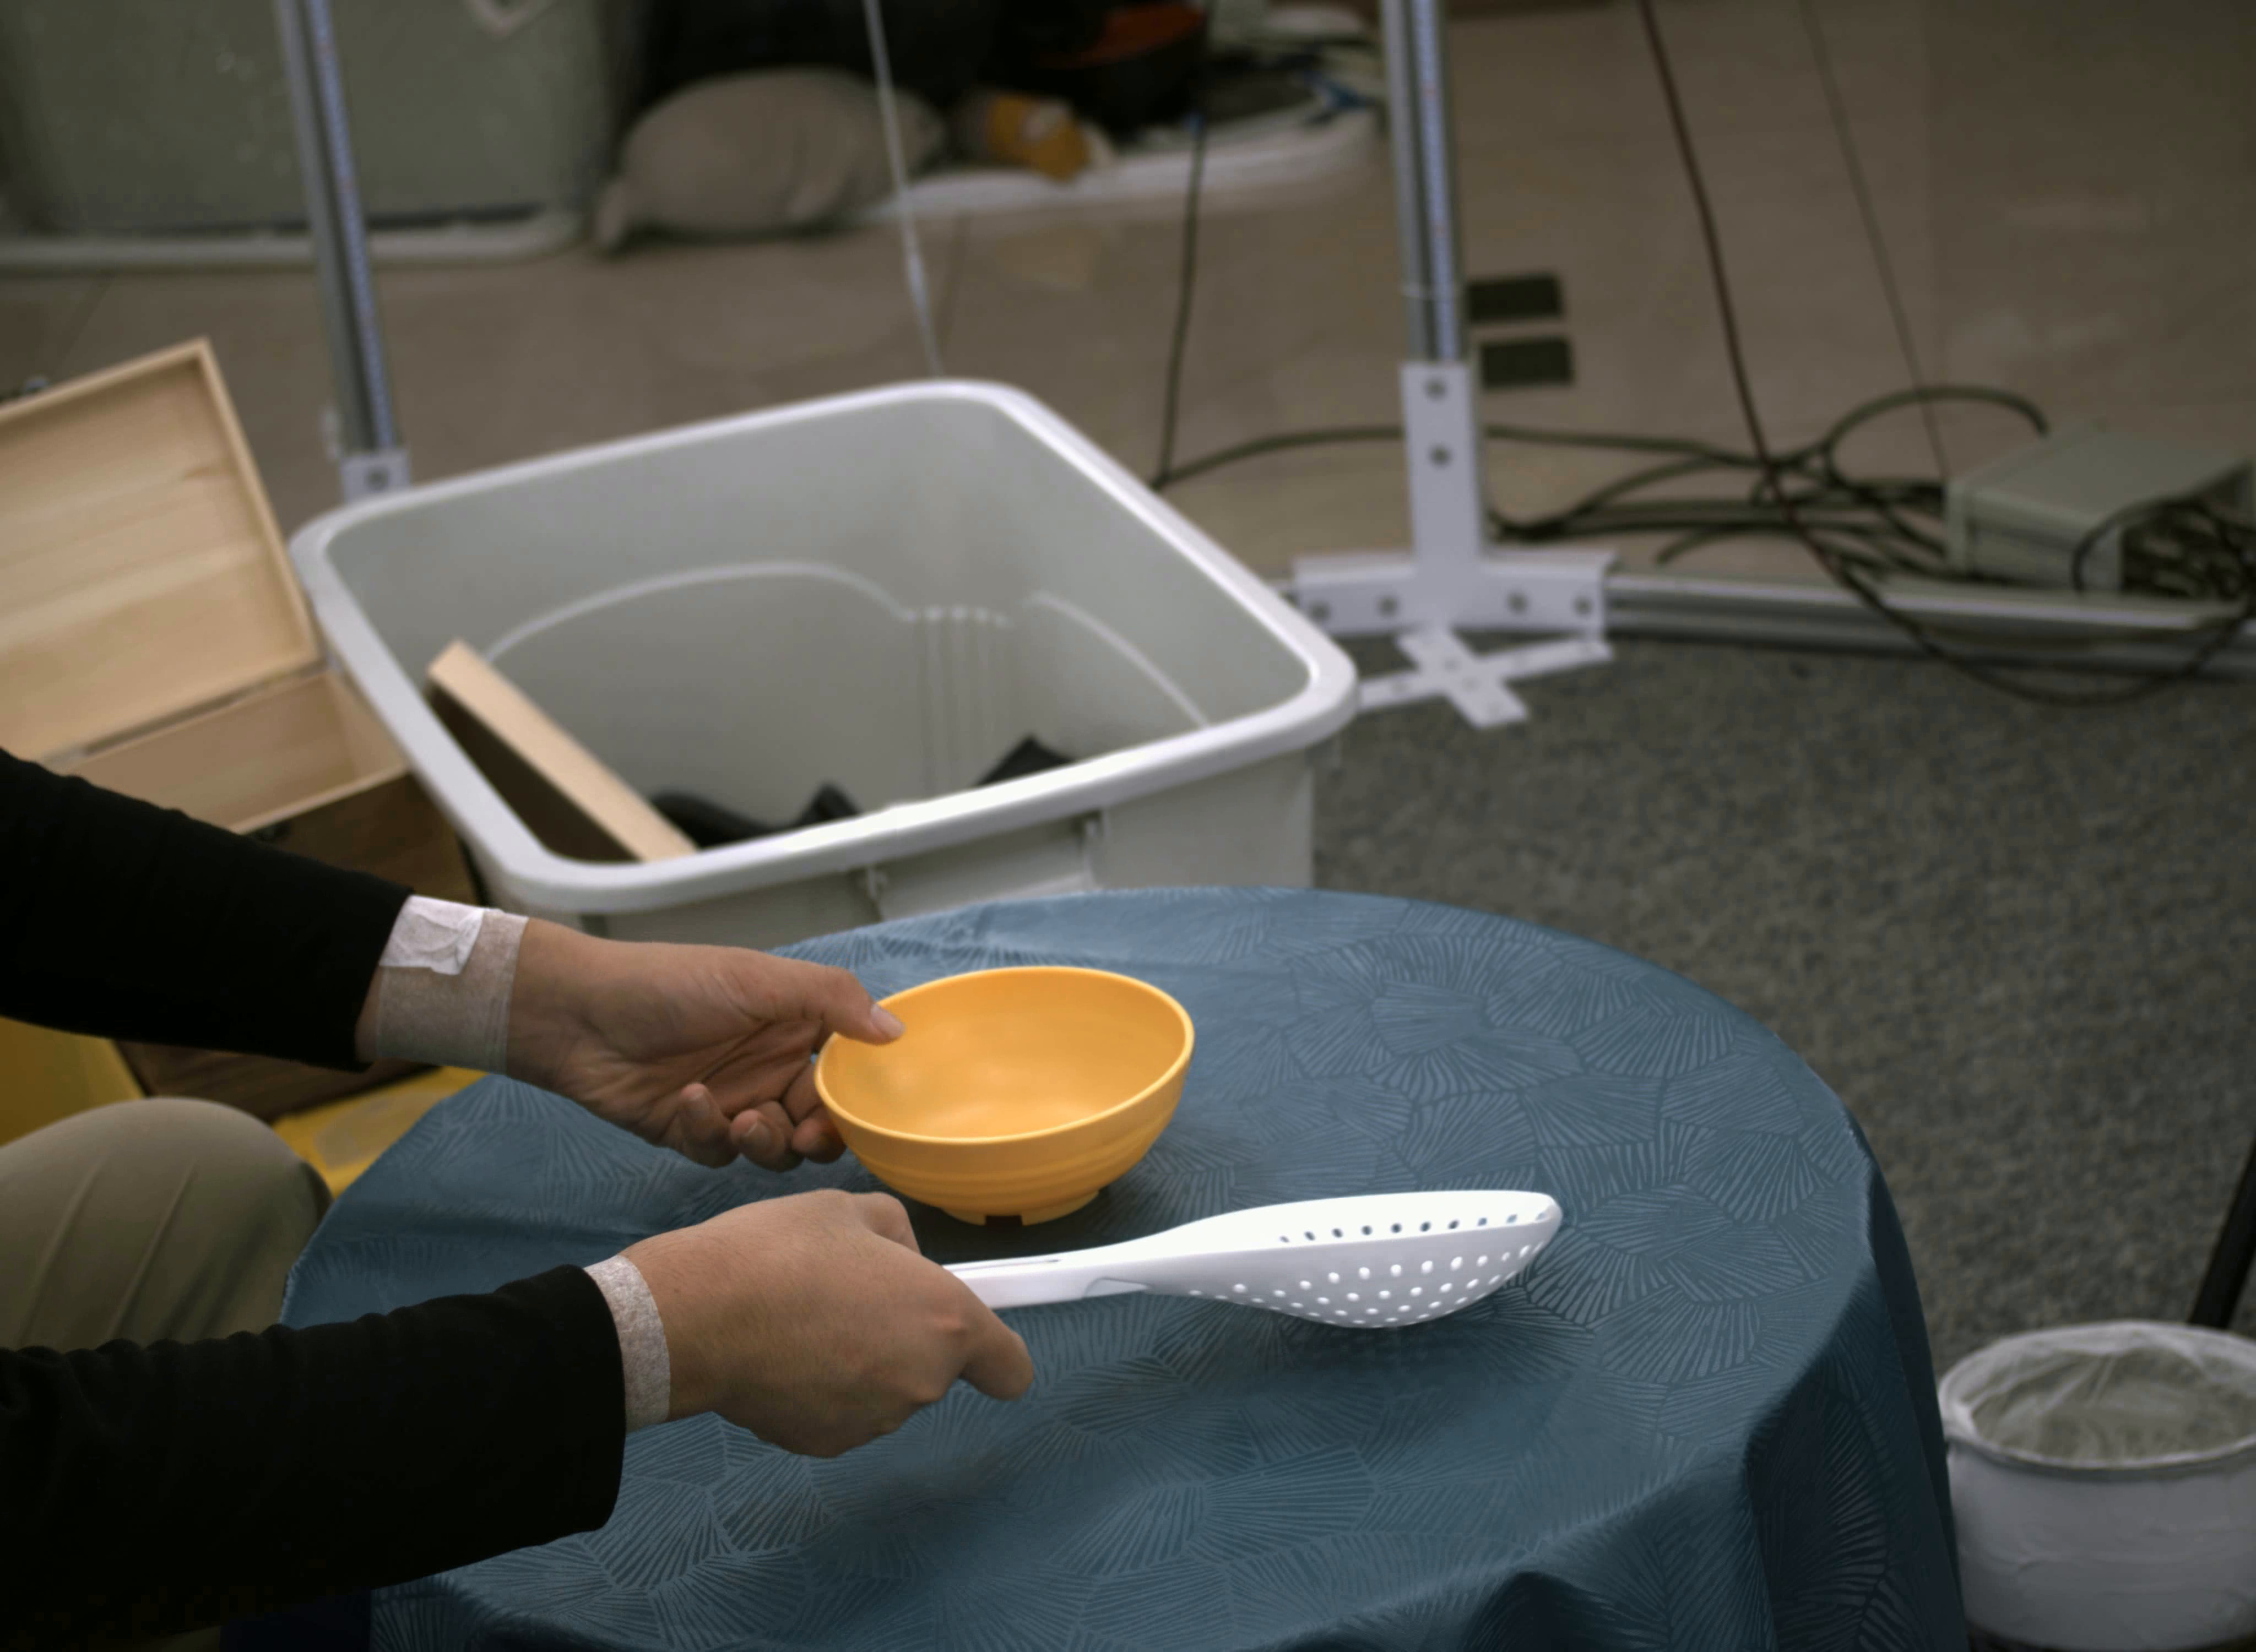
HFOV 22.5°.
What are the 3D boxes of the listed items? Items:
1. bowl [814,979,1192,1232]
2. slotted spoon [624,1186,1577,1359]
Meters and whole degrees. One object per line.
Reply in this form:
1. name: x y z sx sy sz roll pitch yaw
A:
1. bowl: -0.045 0.113 2.148 0.145 0.061 0.143 -5 23 2
2. slotted spoon: -0.007 0.156 1.982 0.349 0.046 0.136 -1 2 -22
